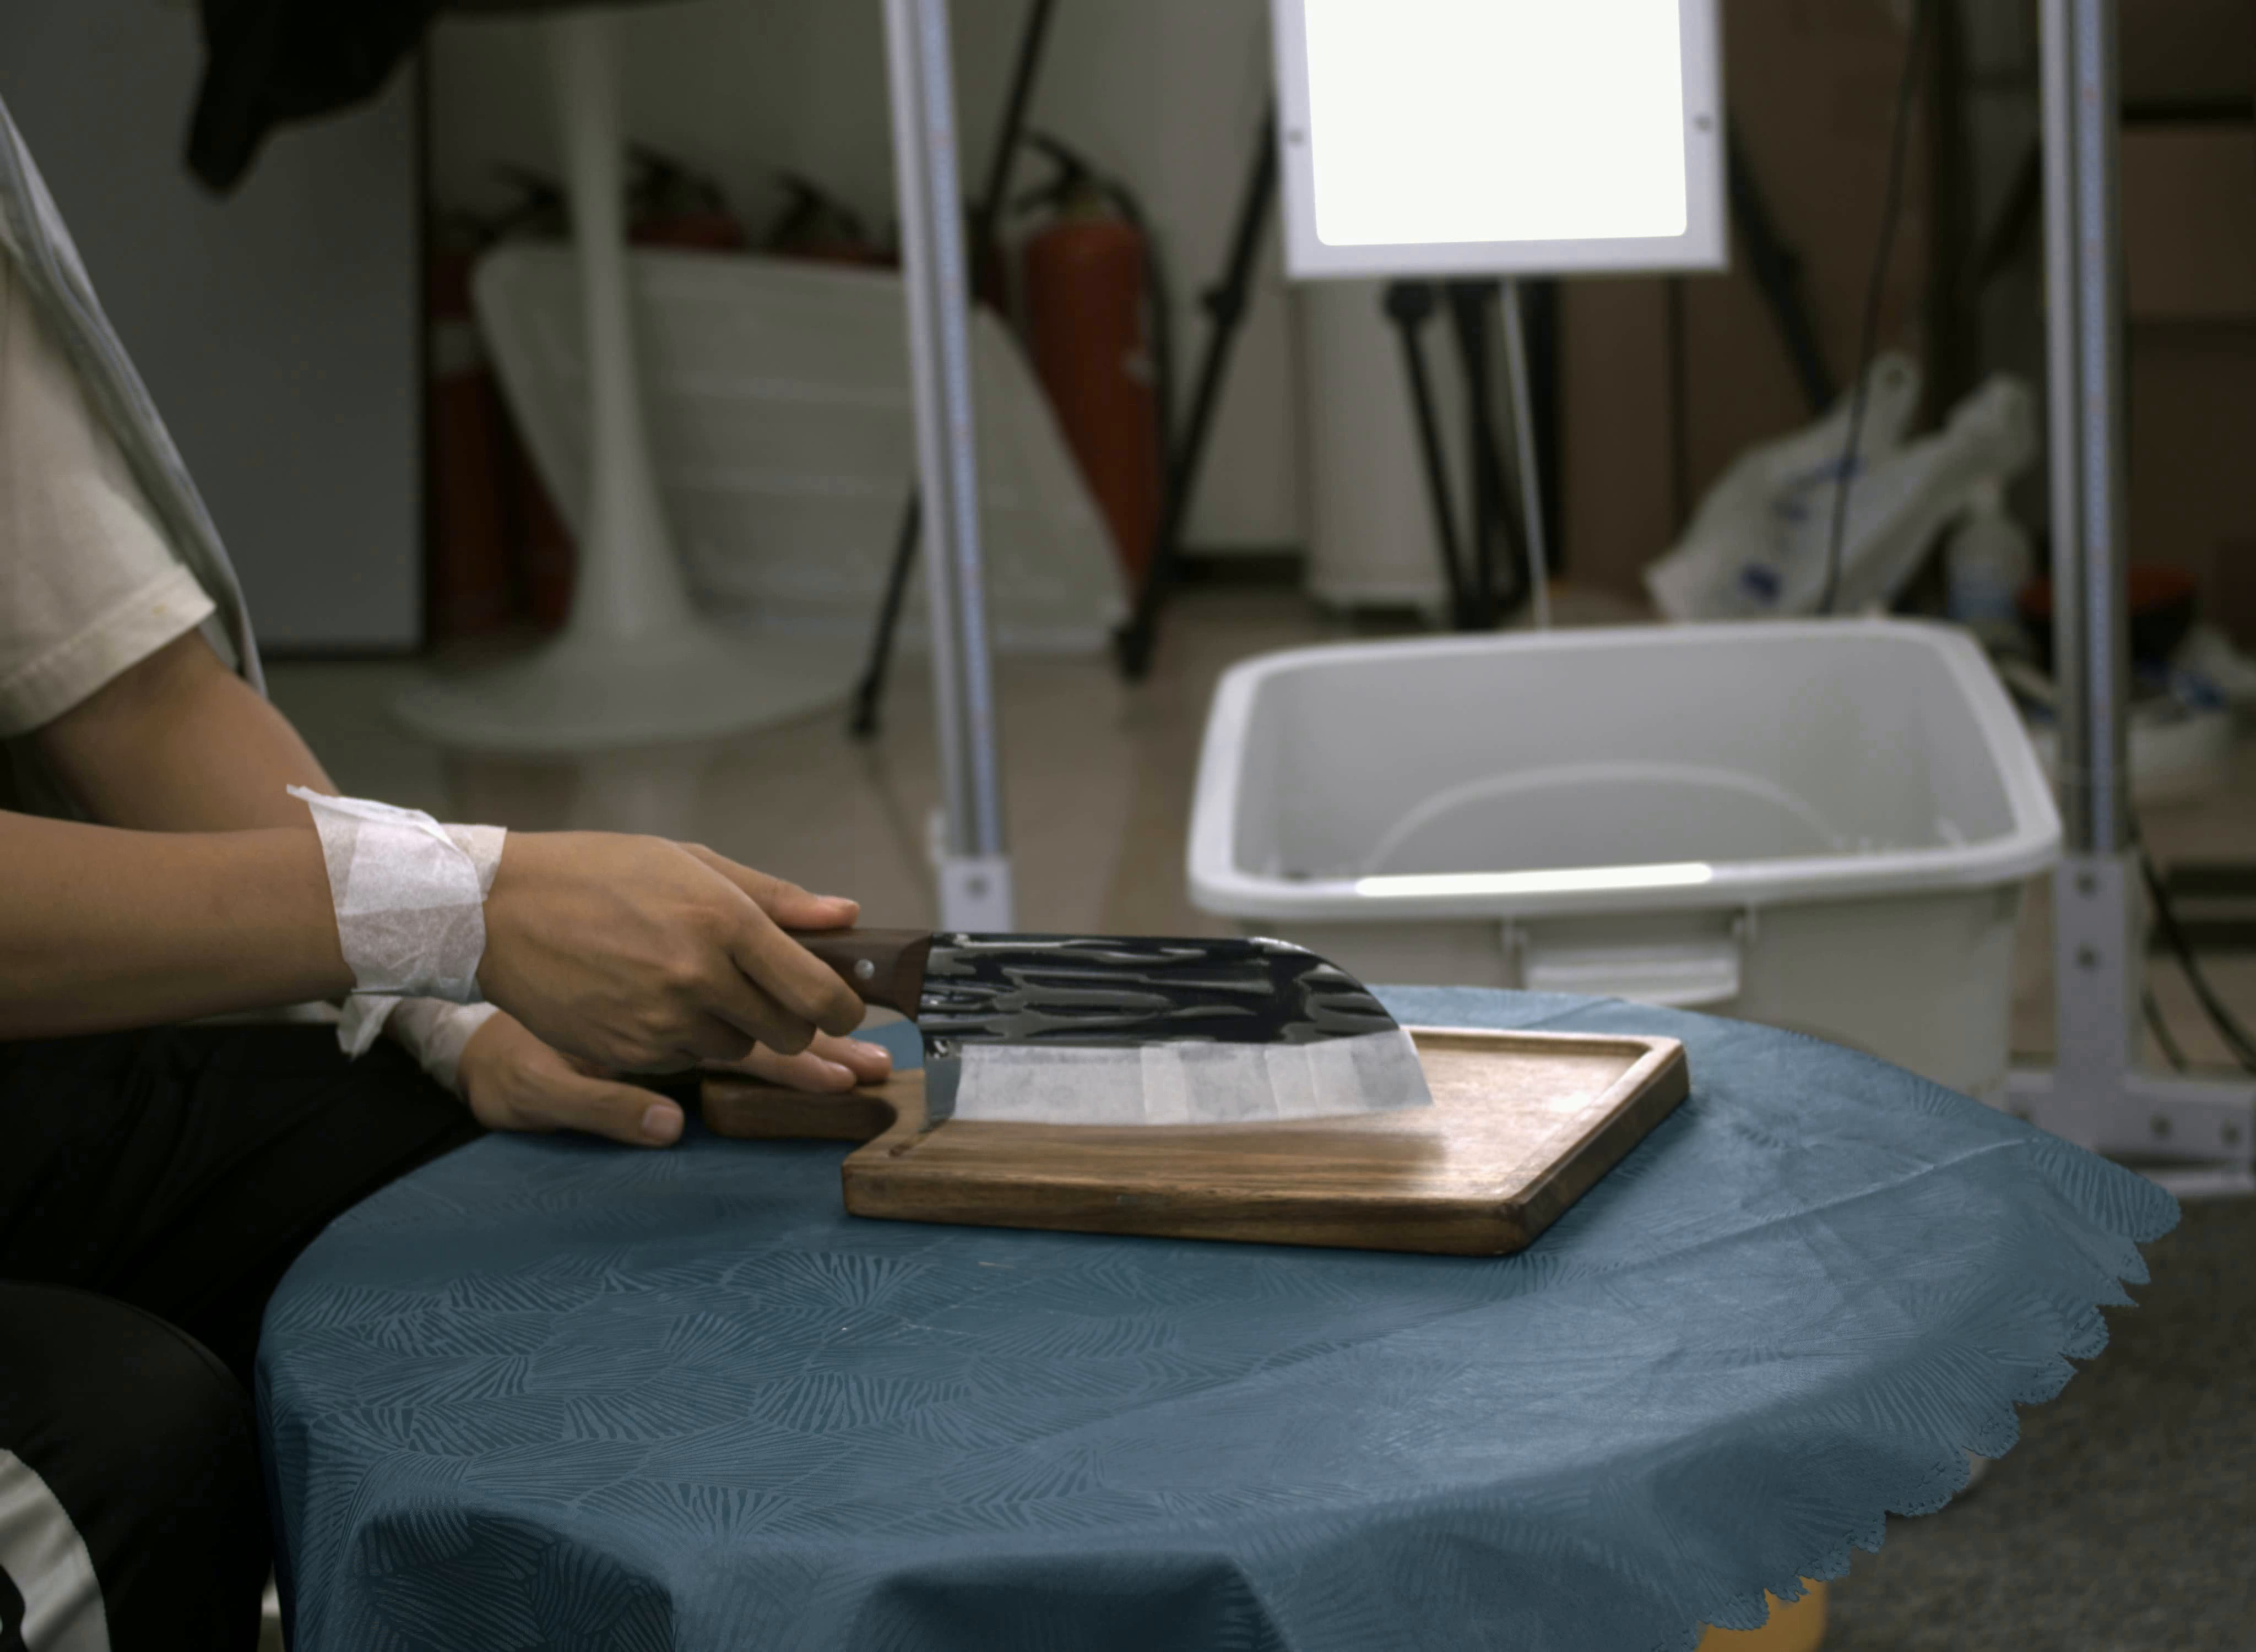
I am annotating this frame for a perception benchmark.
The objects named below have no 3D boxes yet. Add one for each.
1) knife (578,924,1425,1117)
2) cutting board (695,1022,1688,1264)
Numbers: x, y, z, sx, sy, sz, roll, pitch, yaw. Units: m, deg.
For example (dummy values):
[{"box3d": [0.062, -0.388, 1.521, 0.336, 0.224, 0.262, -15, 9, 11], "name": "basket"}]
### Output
[{"box3d": [-0.045, 0.068, 1.915, 0.301, 0.068, 0.024, 2, 7, 9], "name": "knife"}, {"box3d": [0.006, 0.106, 1.947, 0.358, 0.023, 0.197, 0, 16, 25], "name": "cutting board"}]
